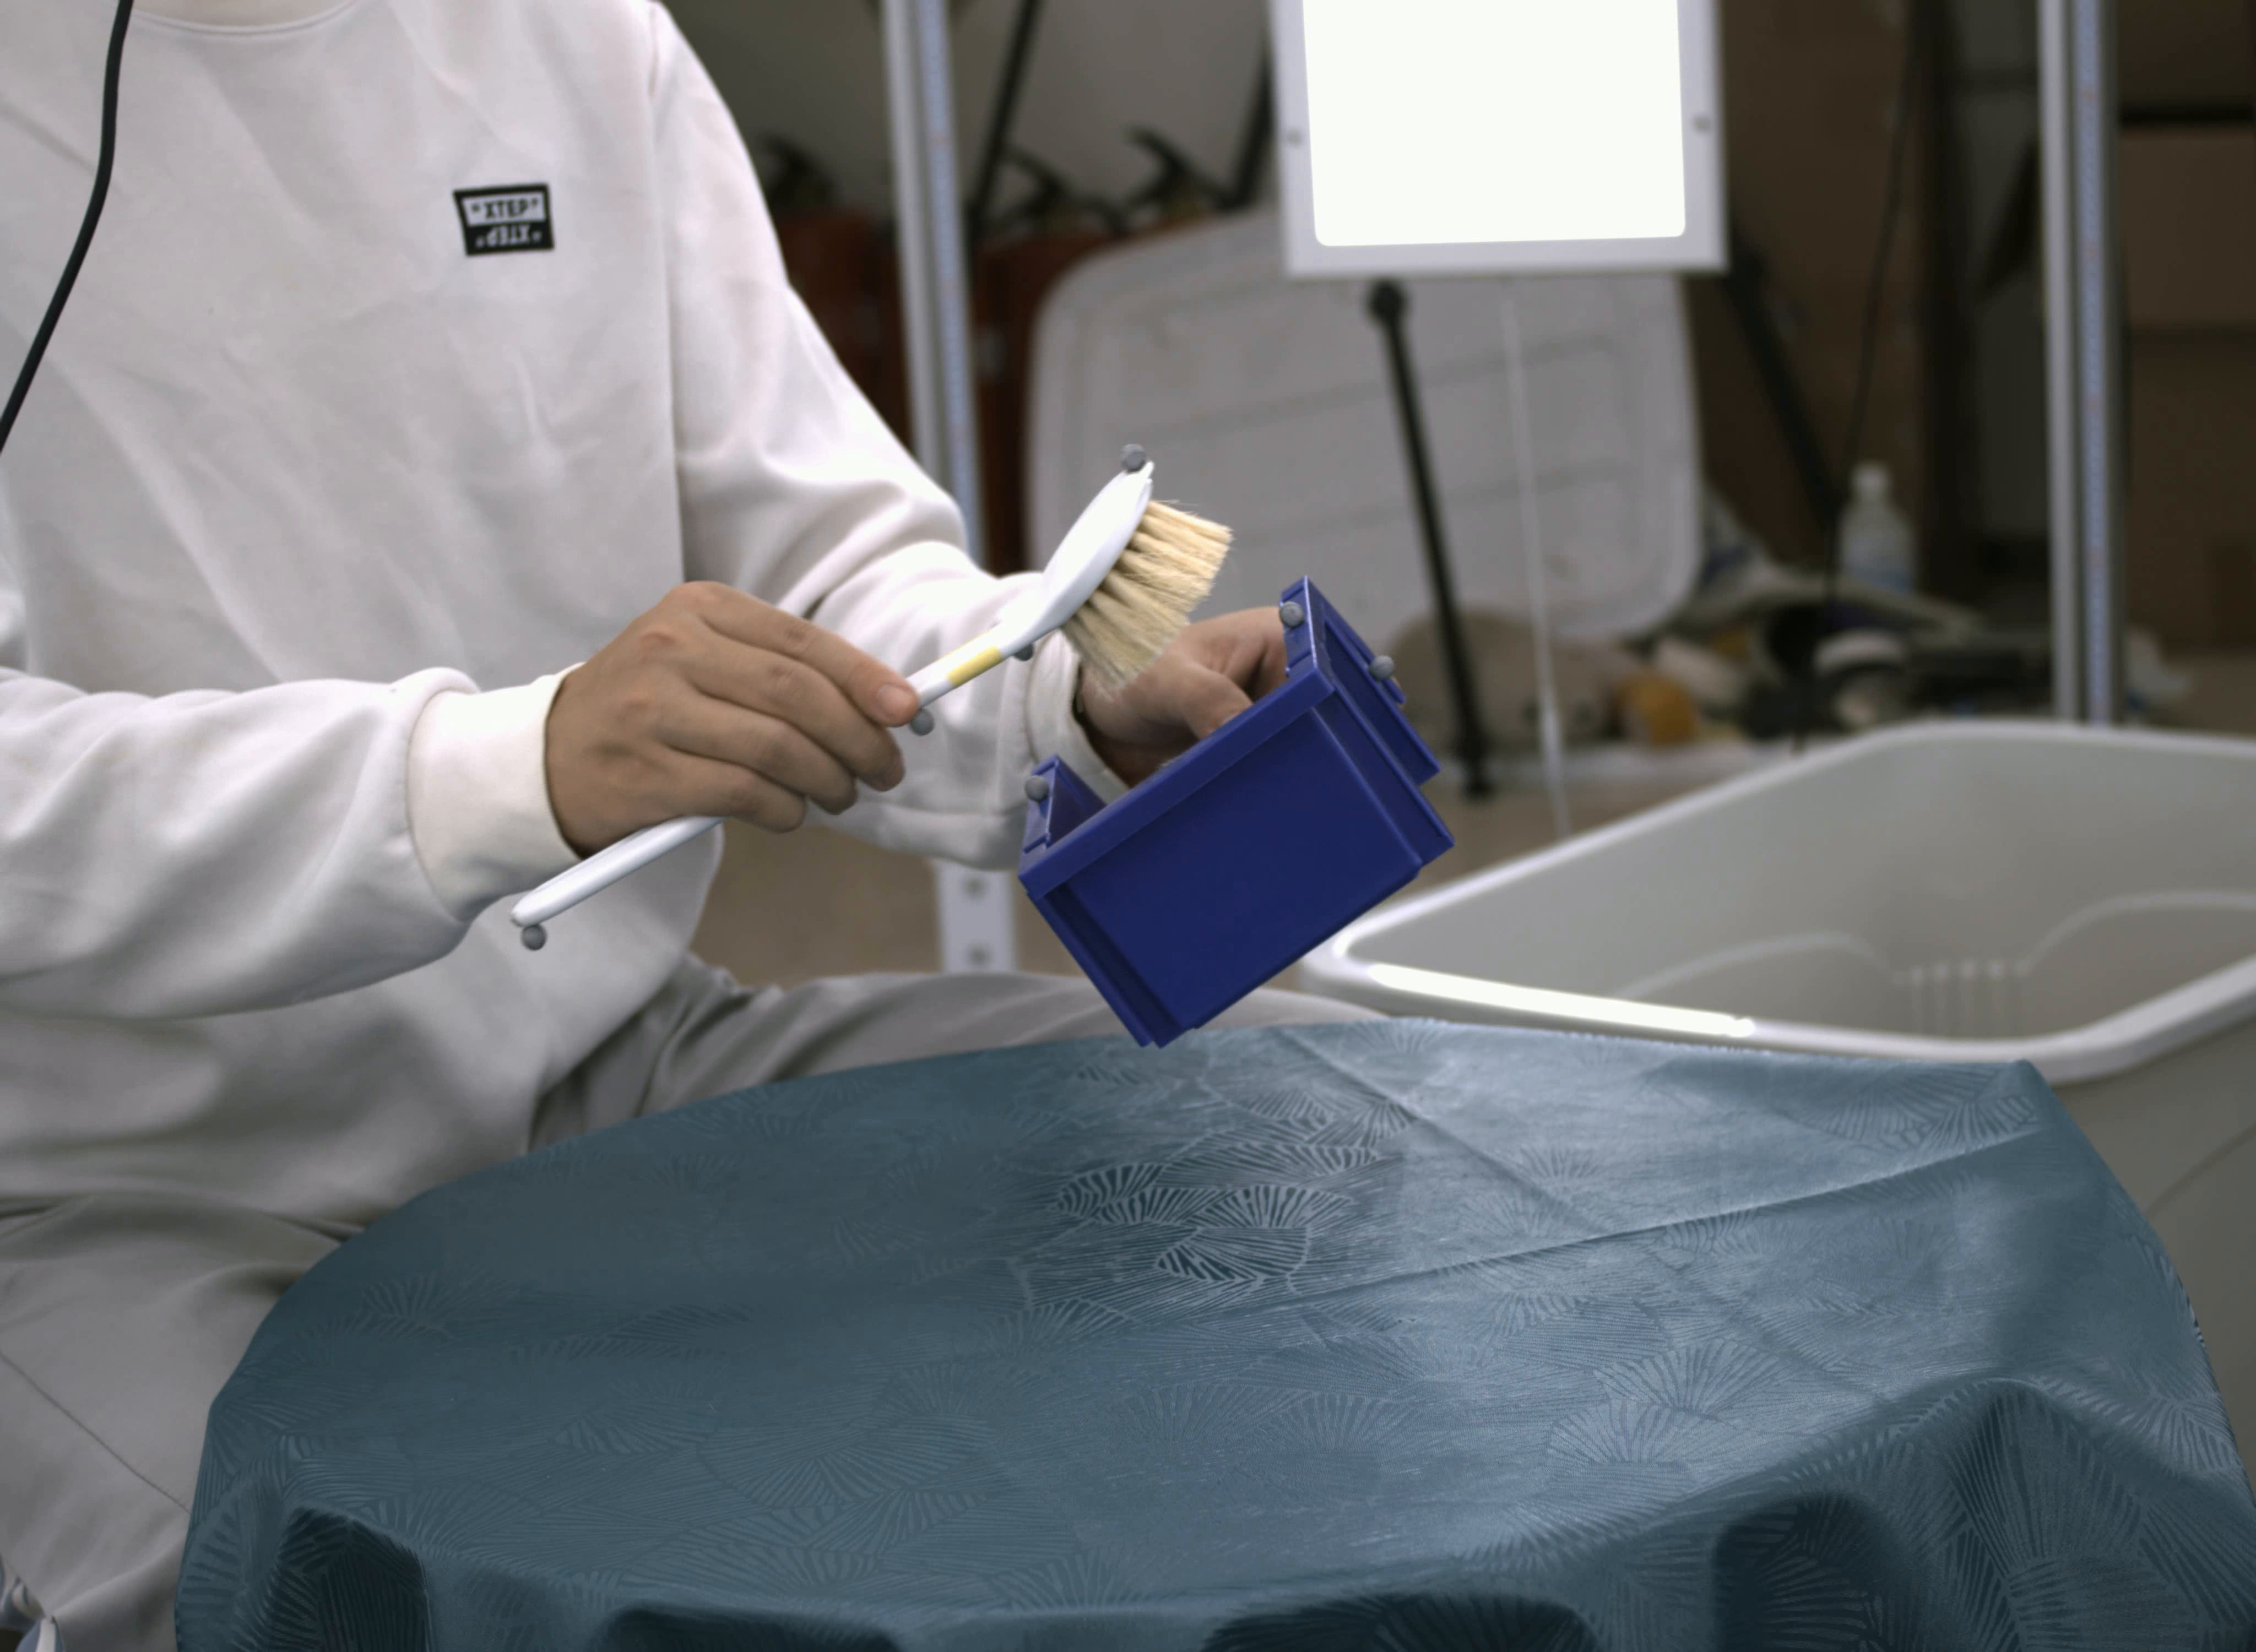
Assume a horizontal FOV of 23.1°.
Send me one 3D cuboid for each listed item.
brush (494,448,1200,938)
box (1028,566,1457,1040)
[{"bbox_3d":[-0.087,-0.027,1.805,0.266,0.056,0.068,-37,8,1],"label":"brush"},{"bbox_3d":[0.036,-0.010,1.877,0.125,0.081,0.179,-36,13,10],"label":"box"}]
